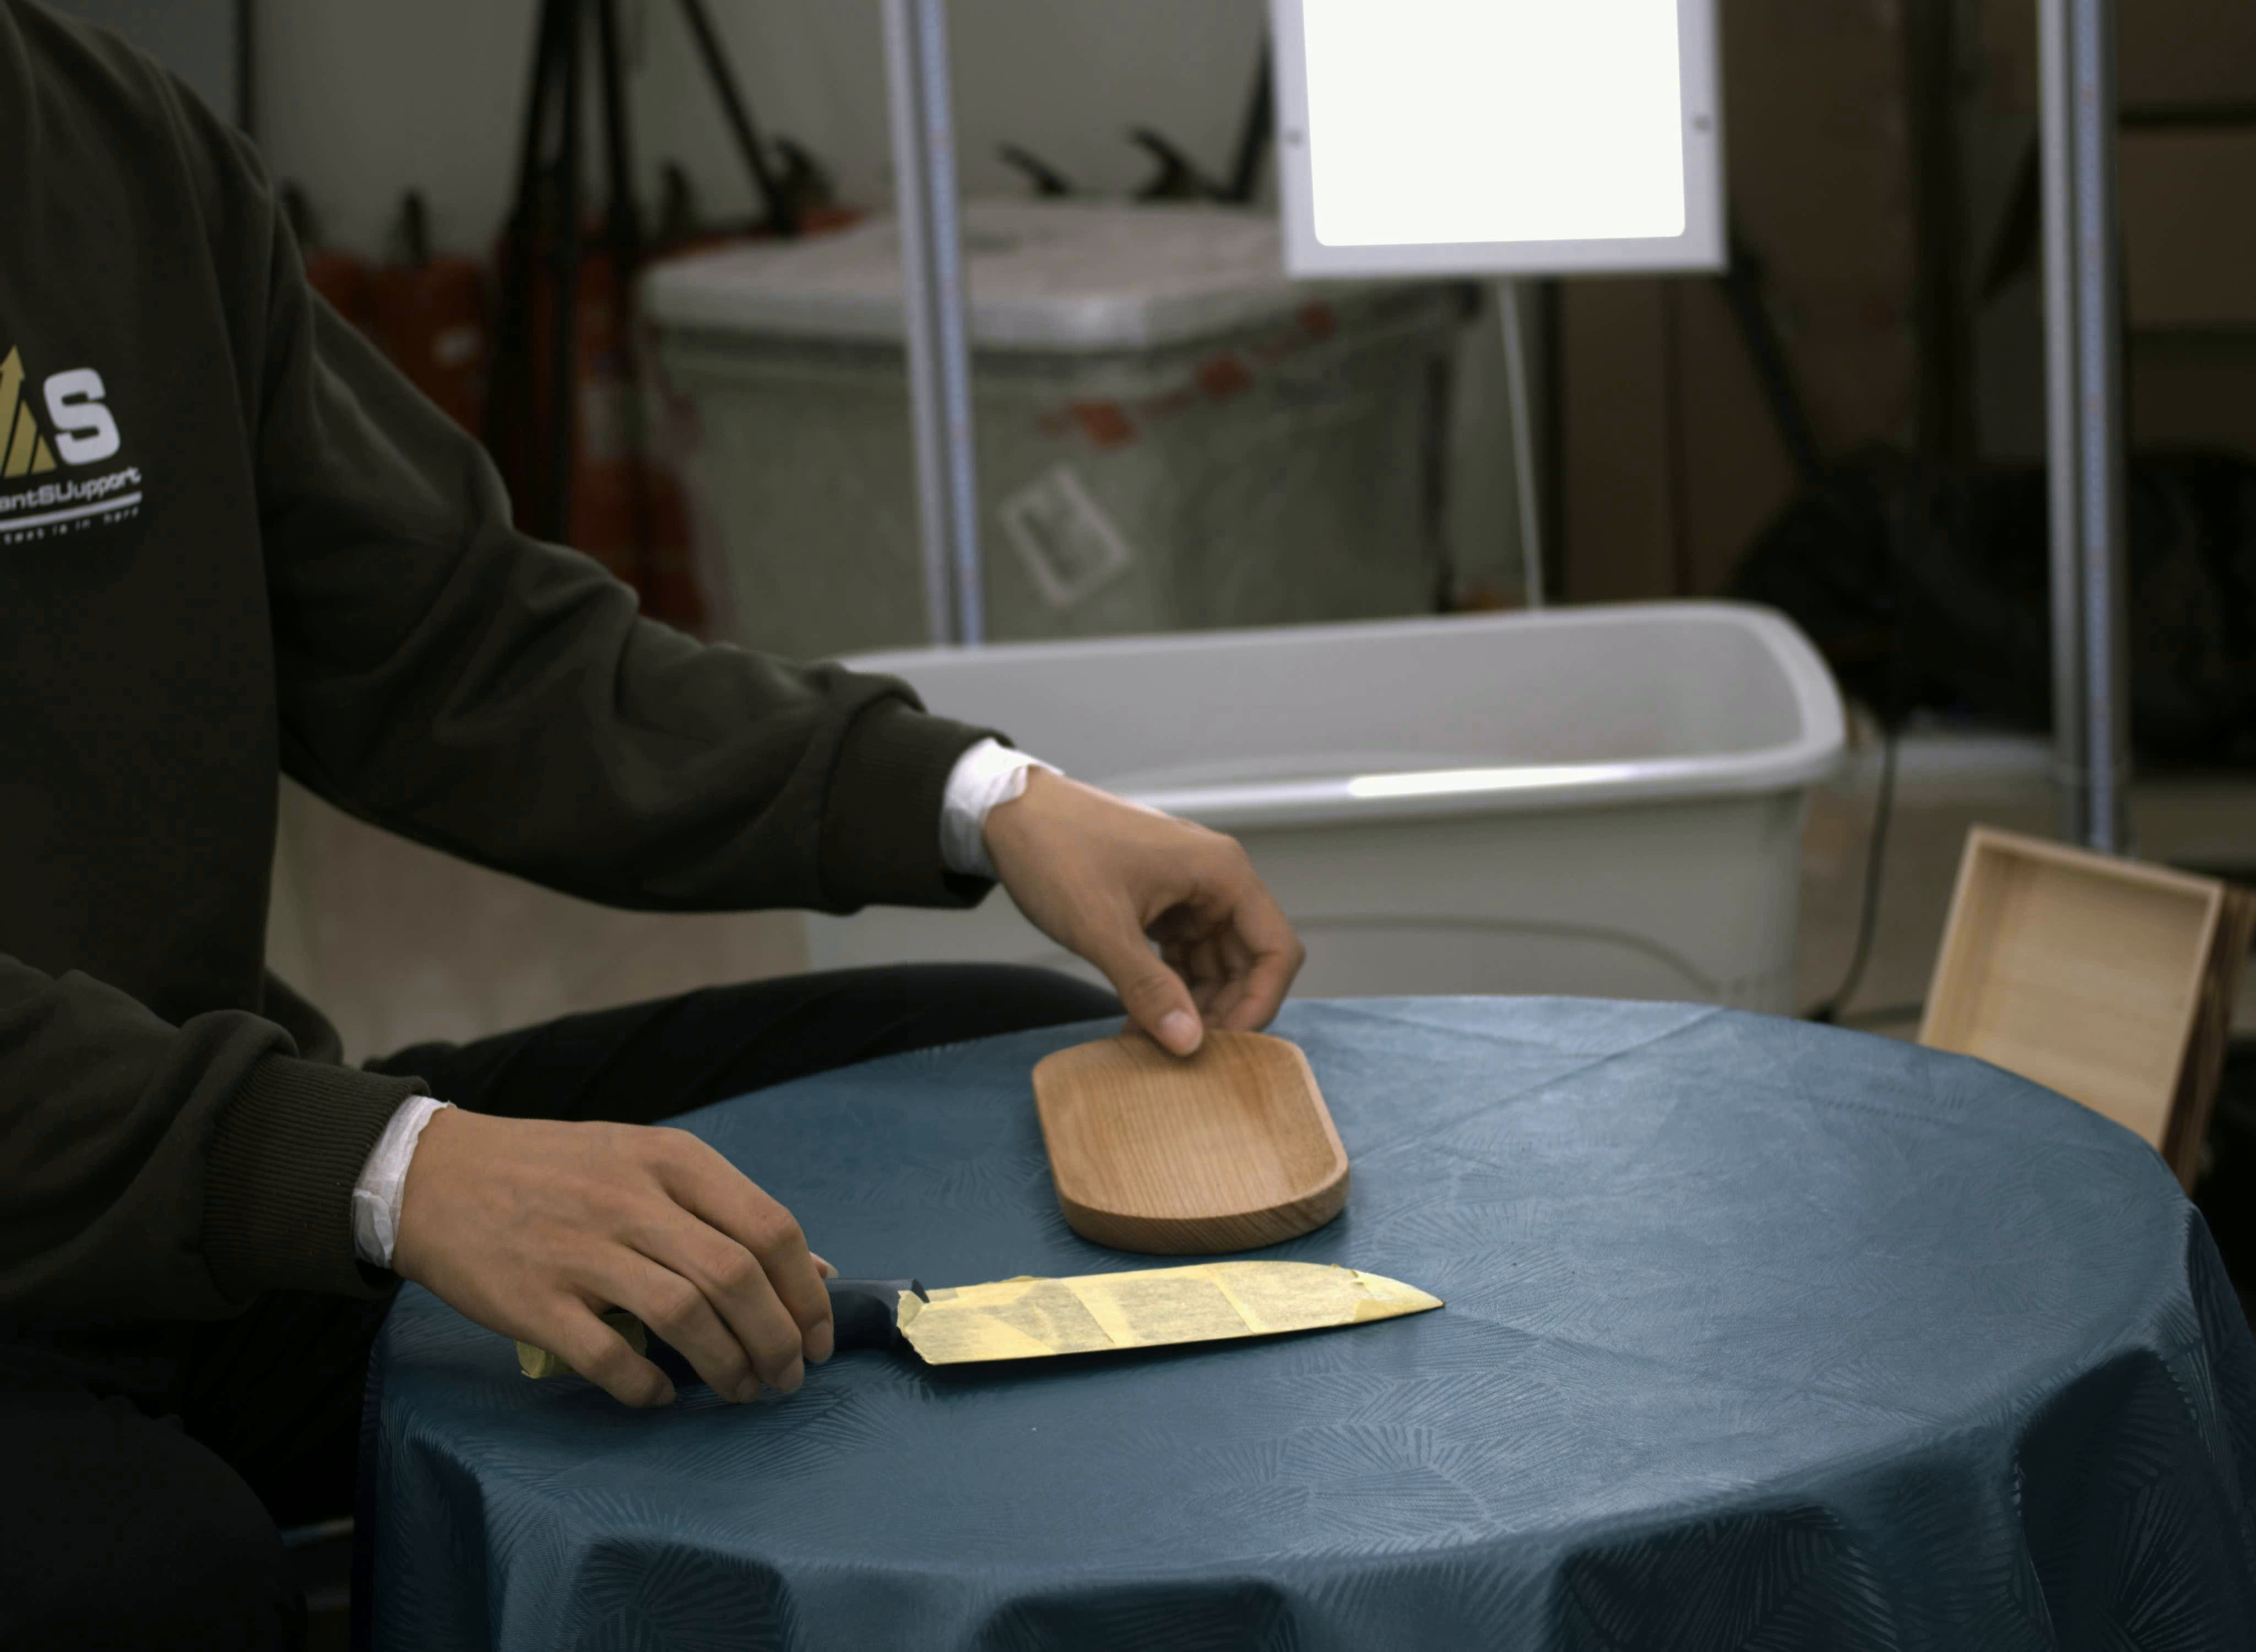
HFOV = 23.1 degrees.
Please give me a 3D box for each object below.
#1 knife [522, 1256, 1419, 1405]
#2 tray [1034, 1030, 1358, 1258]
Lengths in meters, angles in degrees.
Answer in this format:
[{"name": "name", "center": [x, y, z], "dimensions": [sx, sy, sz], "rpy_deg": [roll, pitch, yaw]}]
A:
[{"name": "knife", "center": [-0.048, 0.160, 1.754], "dimensions": [0.287, 0.027, 0.081], "rpy_deg": [-6, 11, -7]}, {"name": "tray", "center": [0.022, 0.110, 1.931], "dimensions": [0.101, 0.020, 0.231], "rpy_deg": [-7, 15, -3]}]
